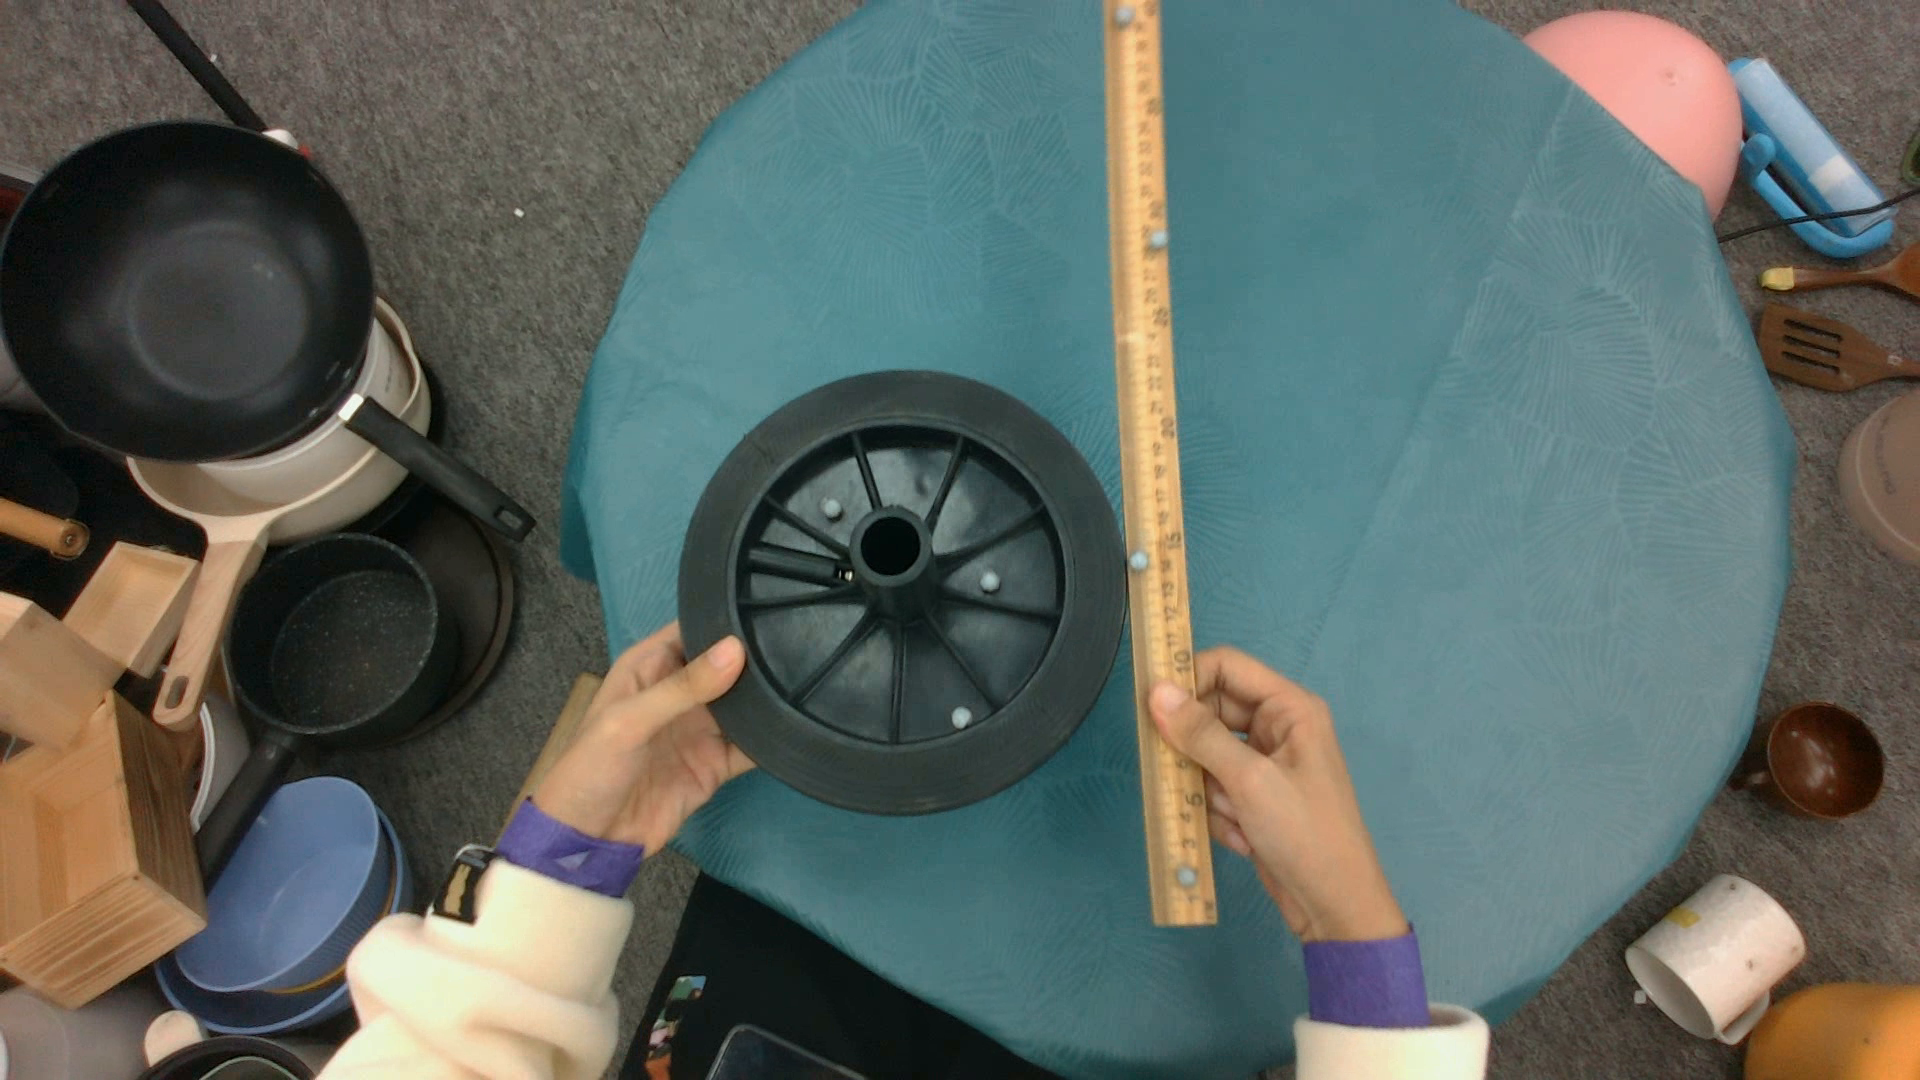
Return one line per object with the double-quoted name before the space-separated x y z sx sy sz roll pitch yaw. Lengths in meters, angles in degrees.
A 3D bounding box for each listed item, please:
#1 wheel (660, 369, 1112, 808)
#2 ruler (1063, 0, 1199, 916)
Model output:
"wheel" -0.031 0.012 0.560 0.190 0.079 0.188 -10 74 -2
"ruler" 0.070 -0.095 0.604 0.027 0.006 0.501 -1 74 -5
